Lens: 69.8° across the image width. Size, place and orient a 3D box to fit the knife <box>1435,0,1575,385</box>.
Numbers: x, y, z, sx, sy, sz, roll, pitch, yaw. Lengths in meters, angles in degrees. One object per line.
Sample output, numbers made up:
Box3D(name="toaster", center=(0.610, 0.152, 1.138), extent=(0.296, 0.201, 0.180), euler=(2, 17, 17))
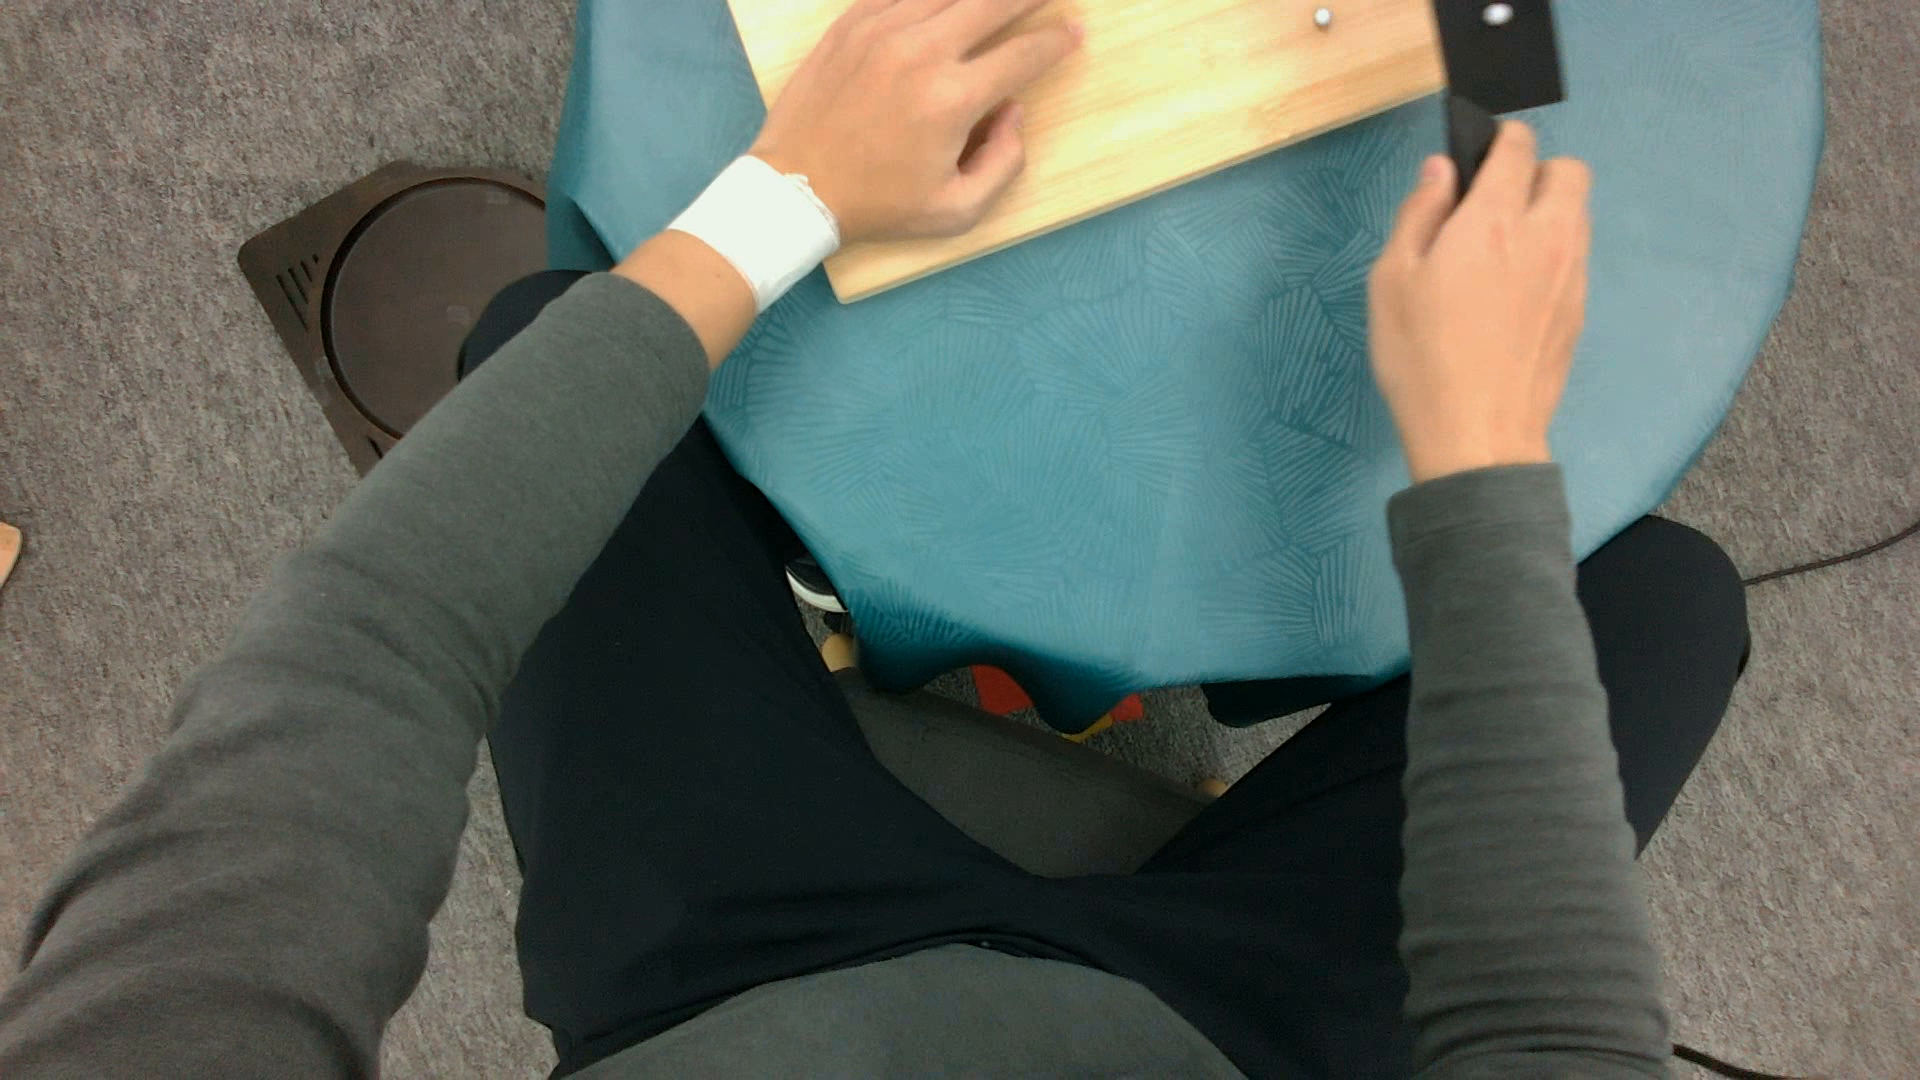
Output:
Box3D(name="knife", center=(0.229, -0.215, 0.582), extent=(0.081, 0.021, 0.302), euler=(-9, 99, -20))

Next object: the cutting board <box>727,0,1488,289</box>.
Box3D(name="cutting board", center=(0.057, -0.289, 0.655), extent=(0.349, 0.023, 0.250), euler=(-21, 90, -4))
